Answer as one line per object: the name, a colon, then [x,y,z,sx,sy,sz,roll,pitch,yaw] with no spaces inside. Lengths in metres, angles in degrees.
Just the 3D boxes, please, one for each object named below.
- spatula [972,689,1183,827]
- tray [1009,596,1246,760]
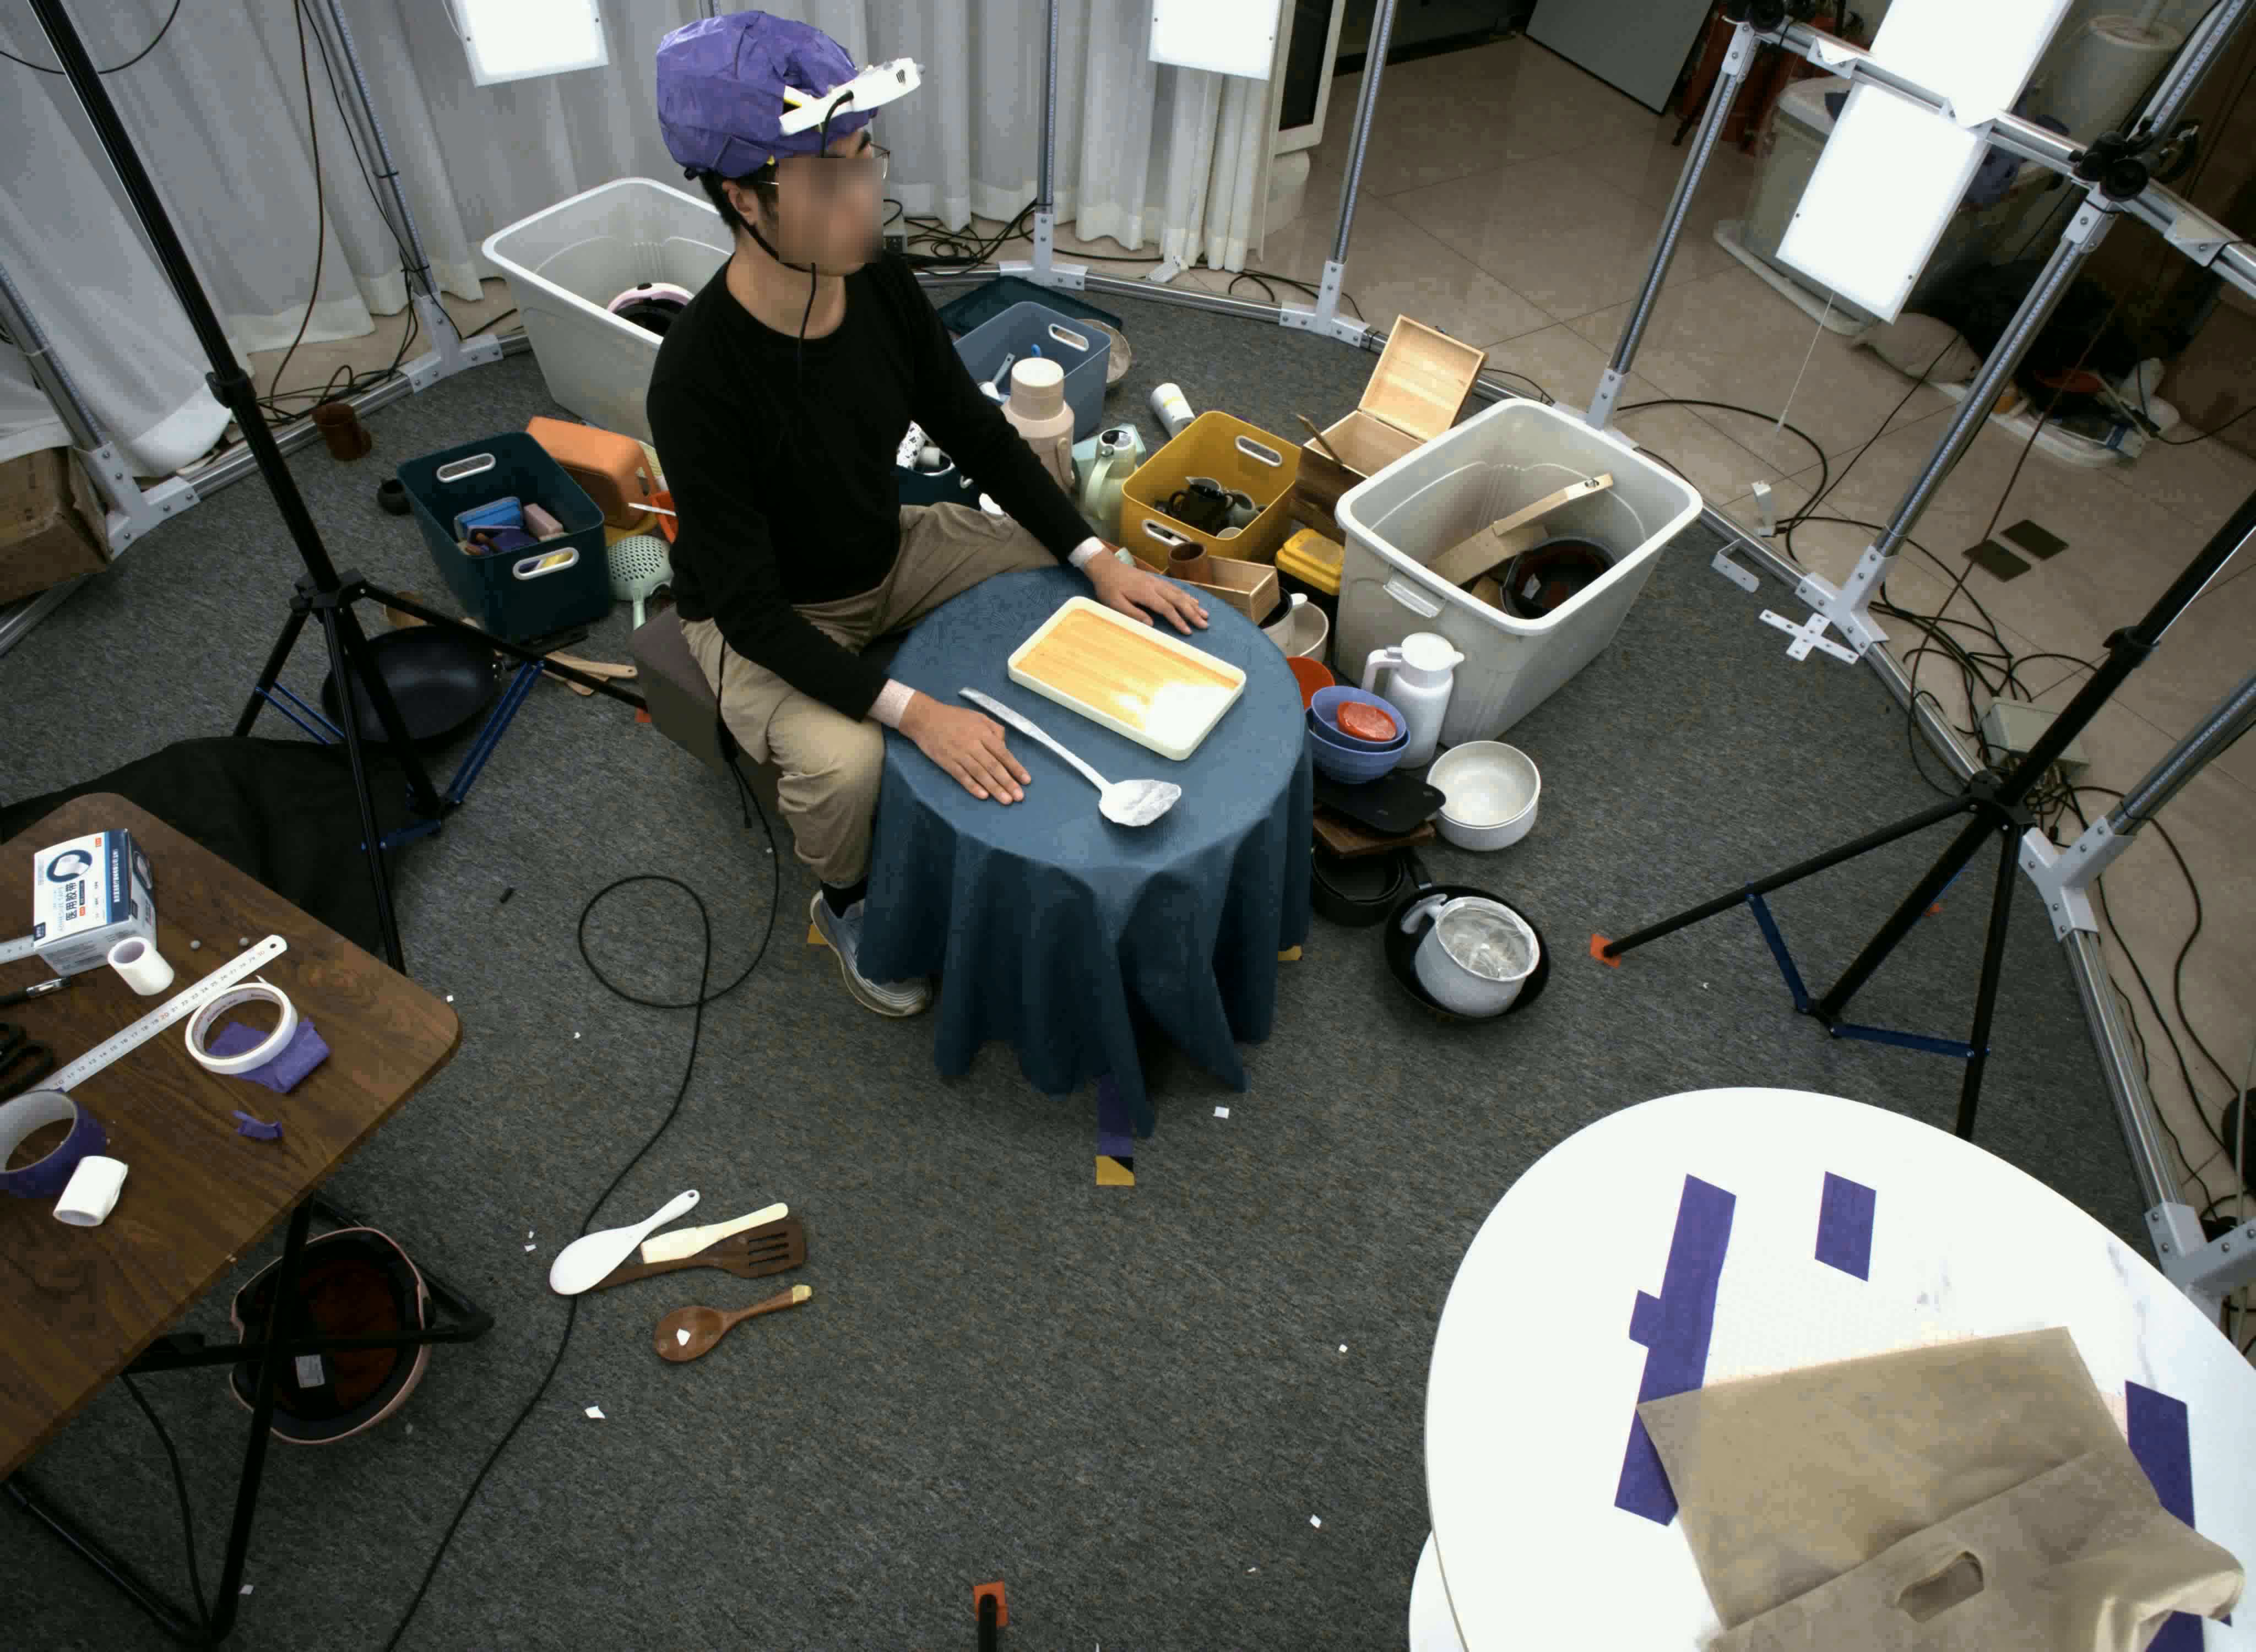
spatula: [-0.087,-0.104,1.730,0.370,0.044,0.100,36,57,24]
tray: [-0.001,-0.217,1.841,0.303,0.027,0.194,28,53,19]
